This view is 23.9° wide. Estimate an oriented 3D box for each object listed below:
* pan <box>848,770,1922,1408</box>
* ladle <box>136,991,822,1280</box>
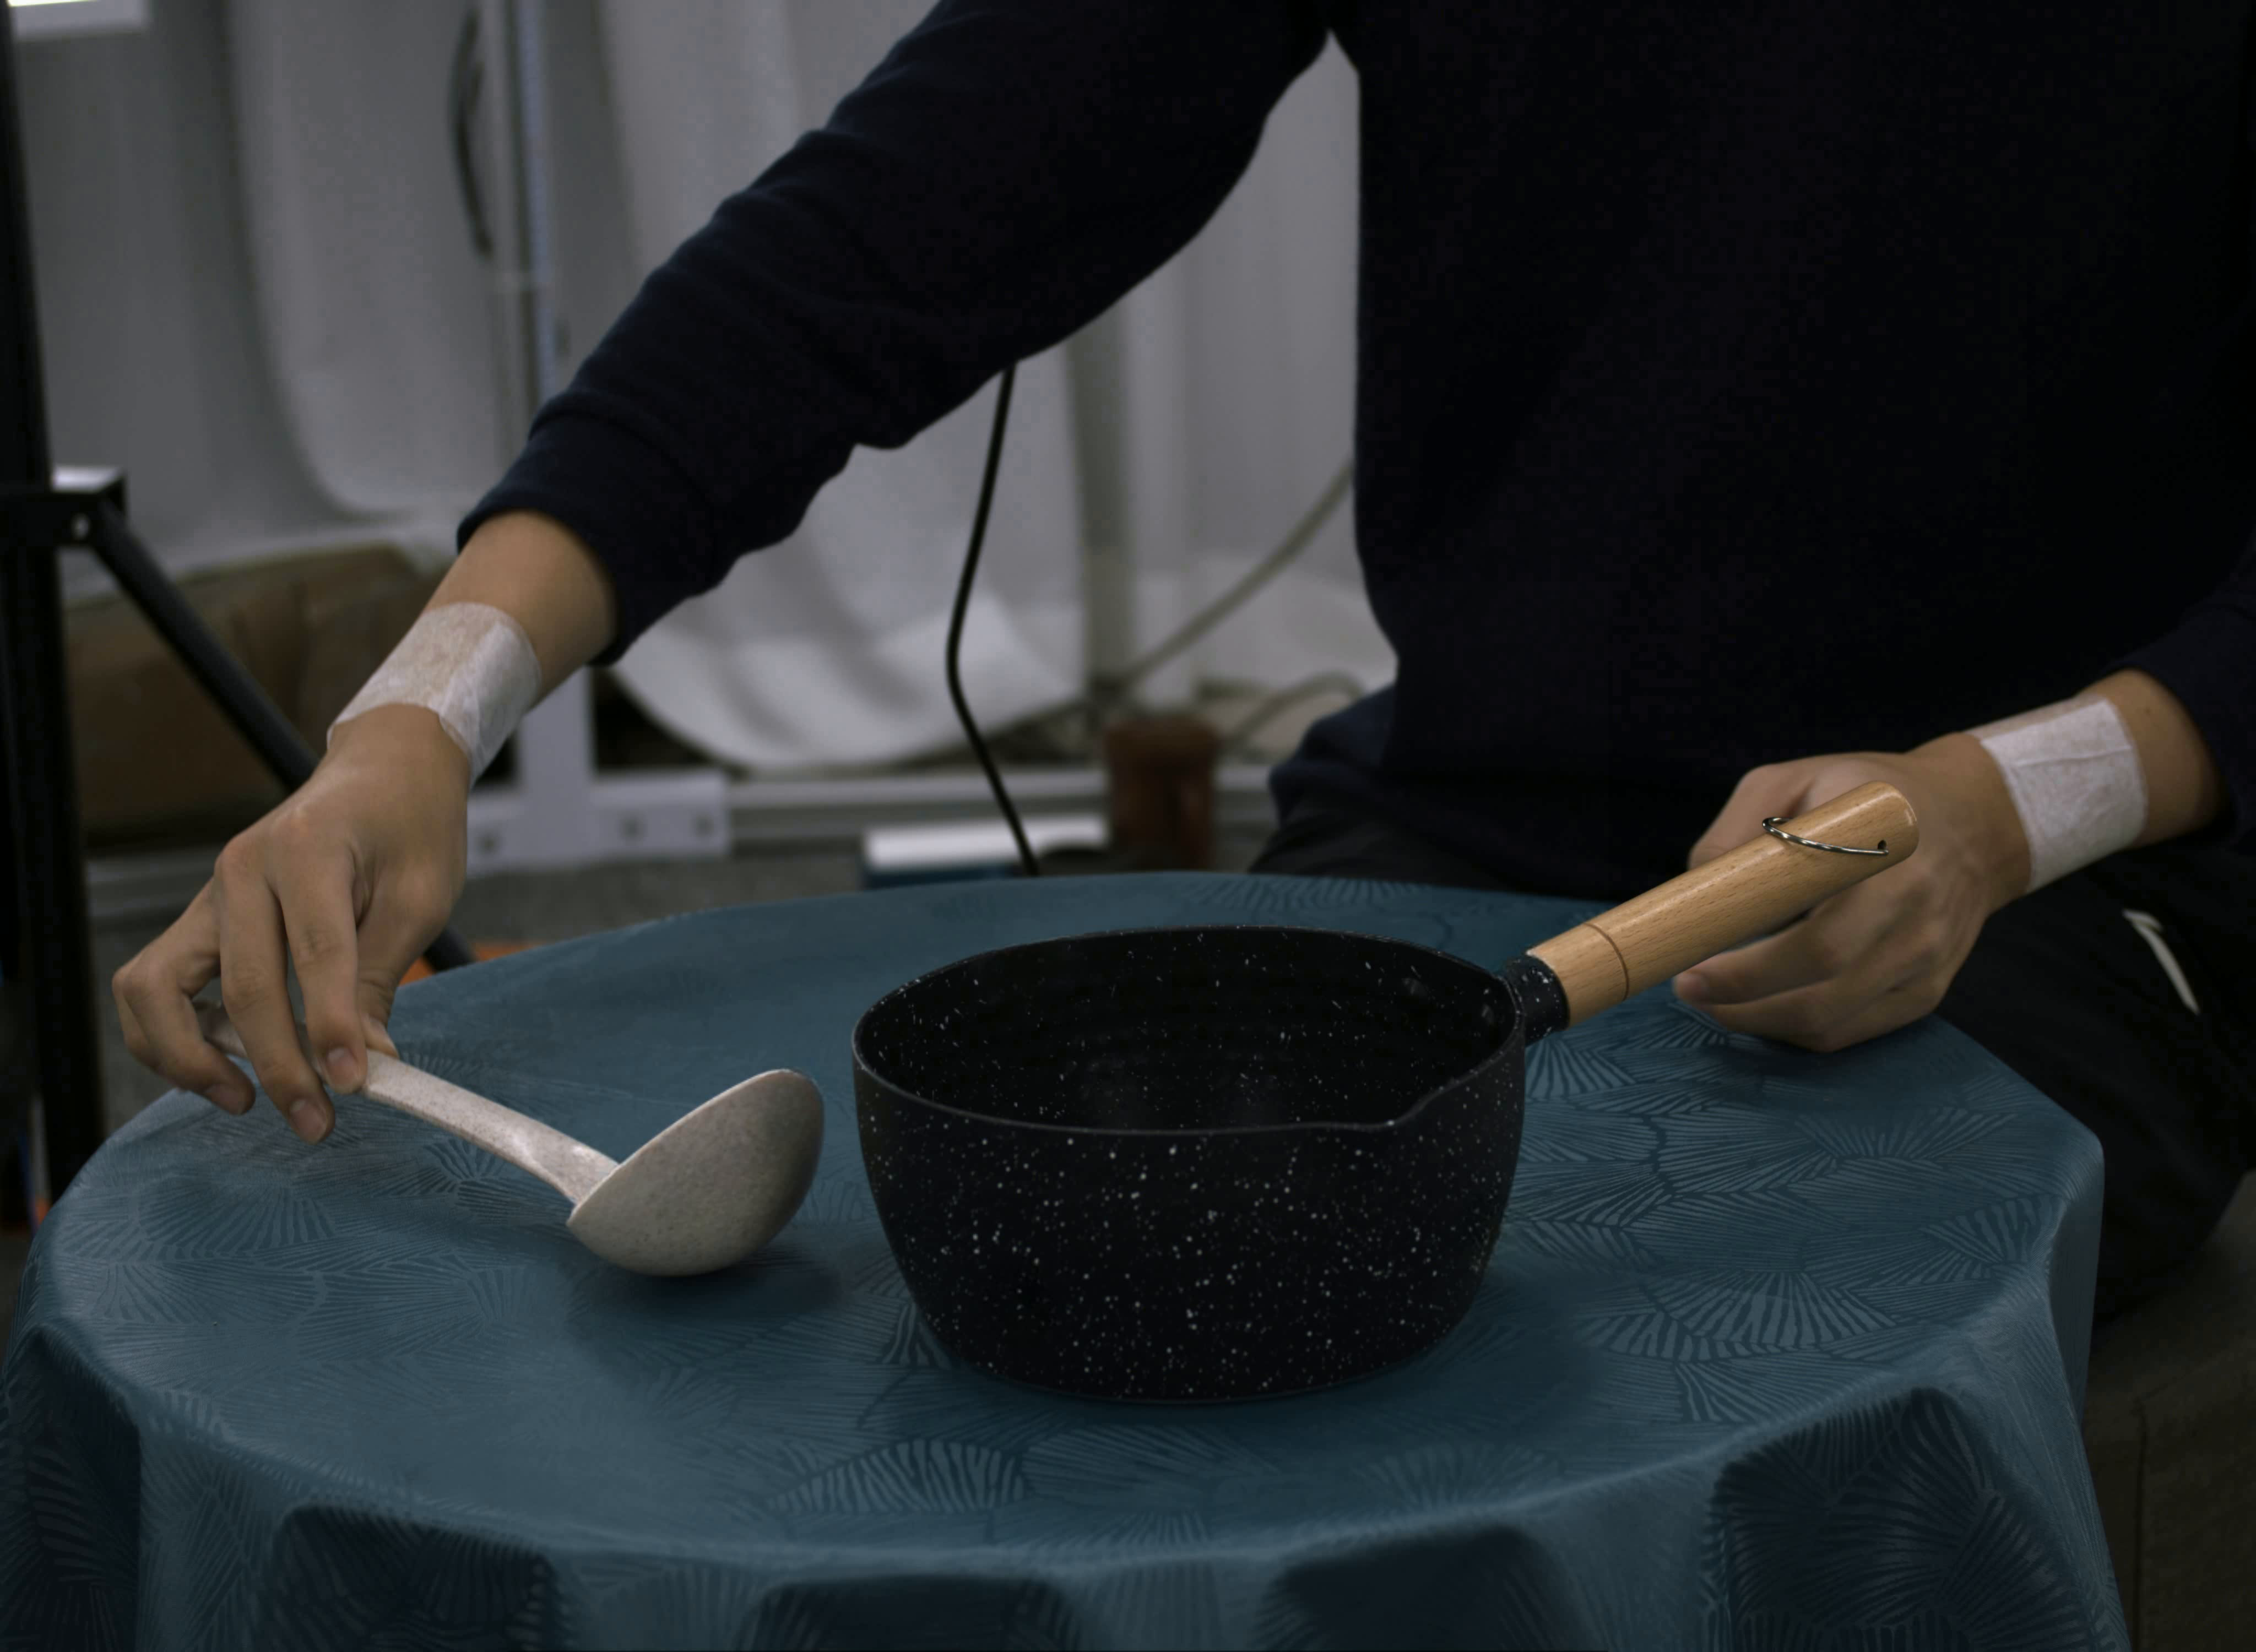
[{"bbox_3d":[0.084,0.068,1.487,0.335,0.108,0.212,-13,18,-29],"label":"pan"},{"bbox_3d":[-0.203,0.065,1.572,0.281,0.069,0.088,20,35,38],"label":"ladle"}]
